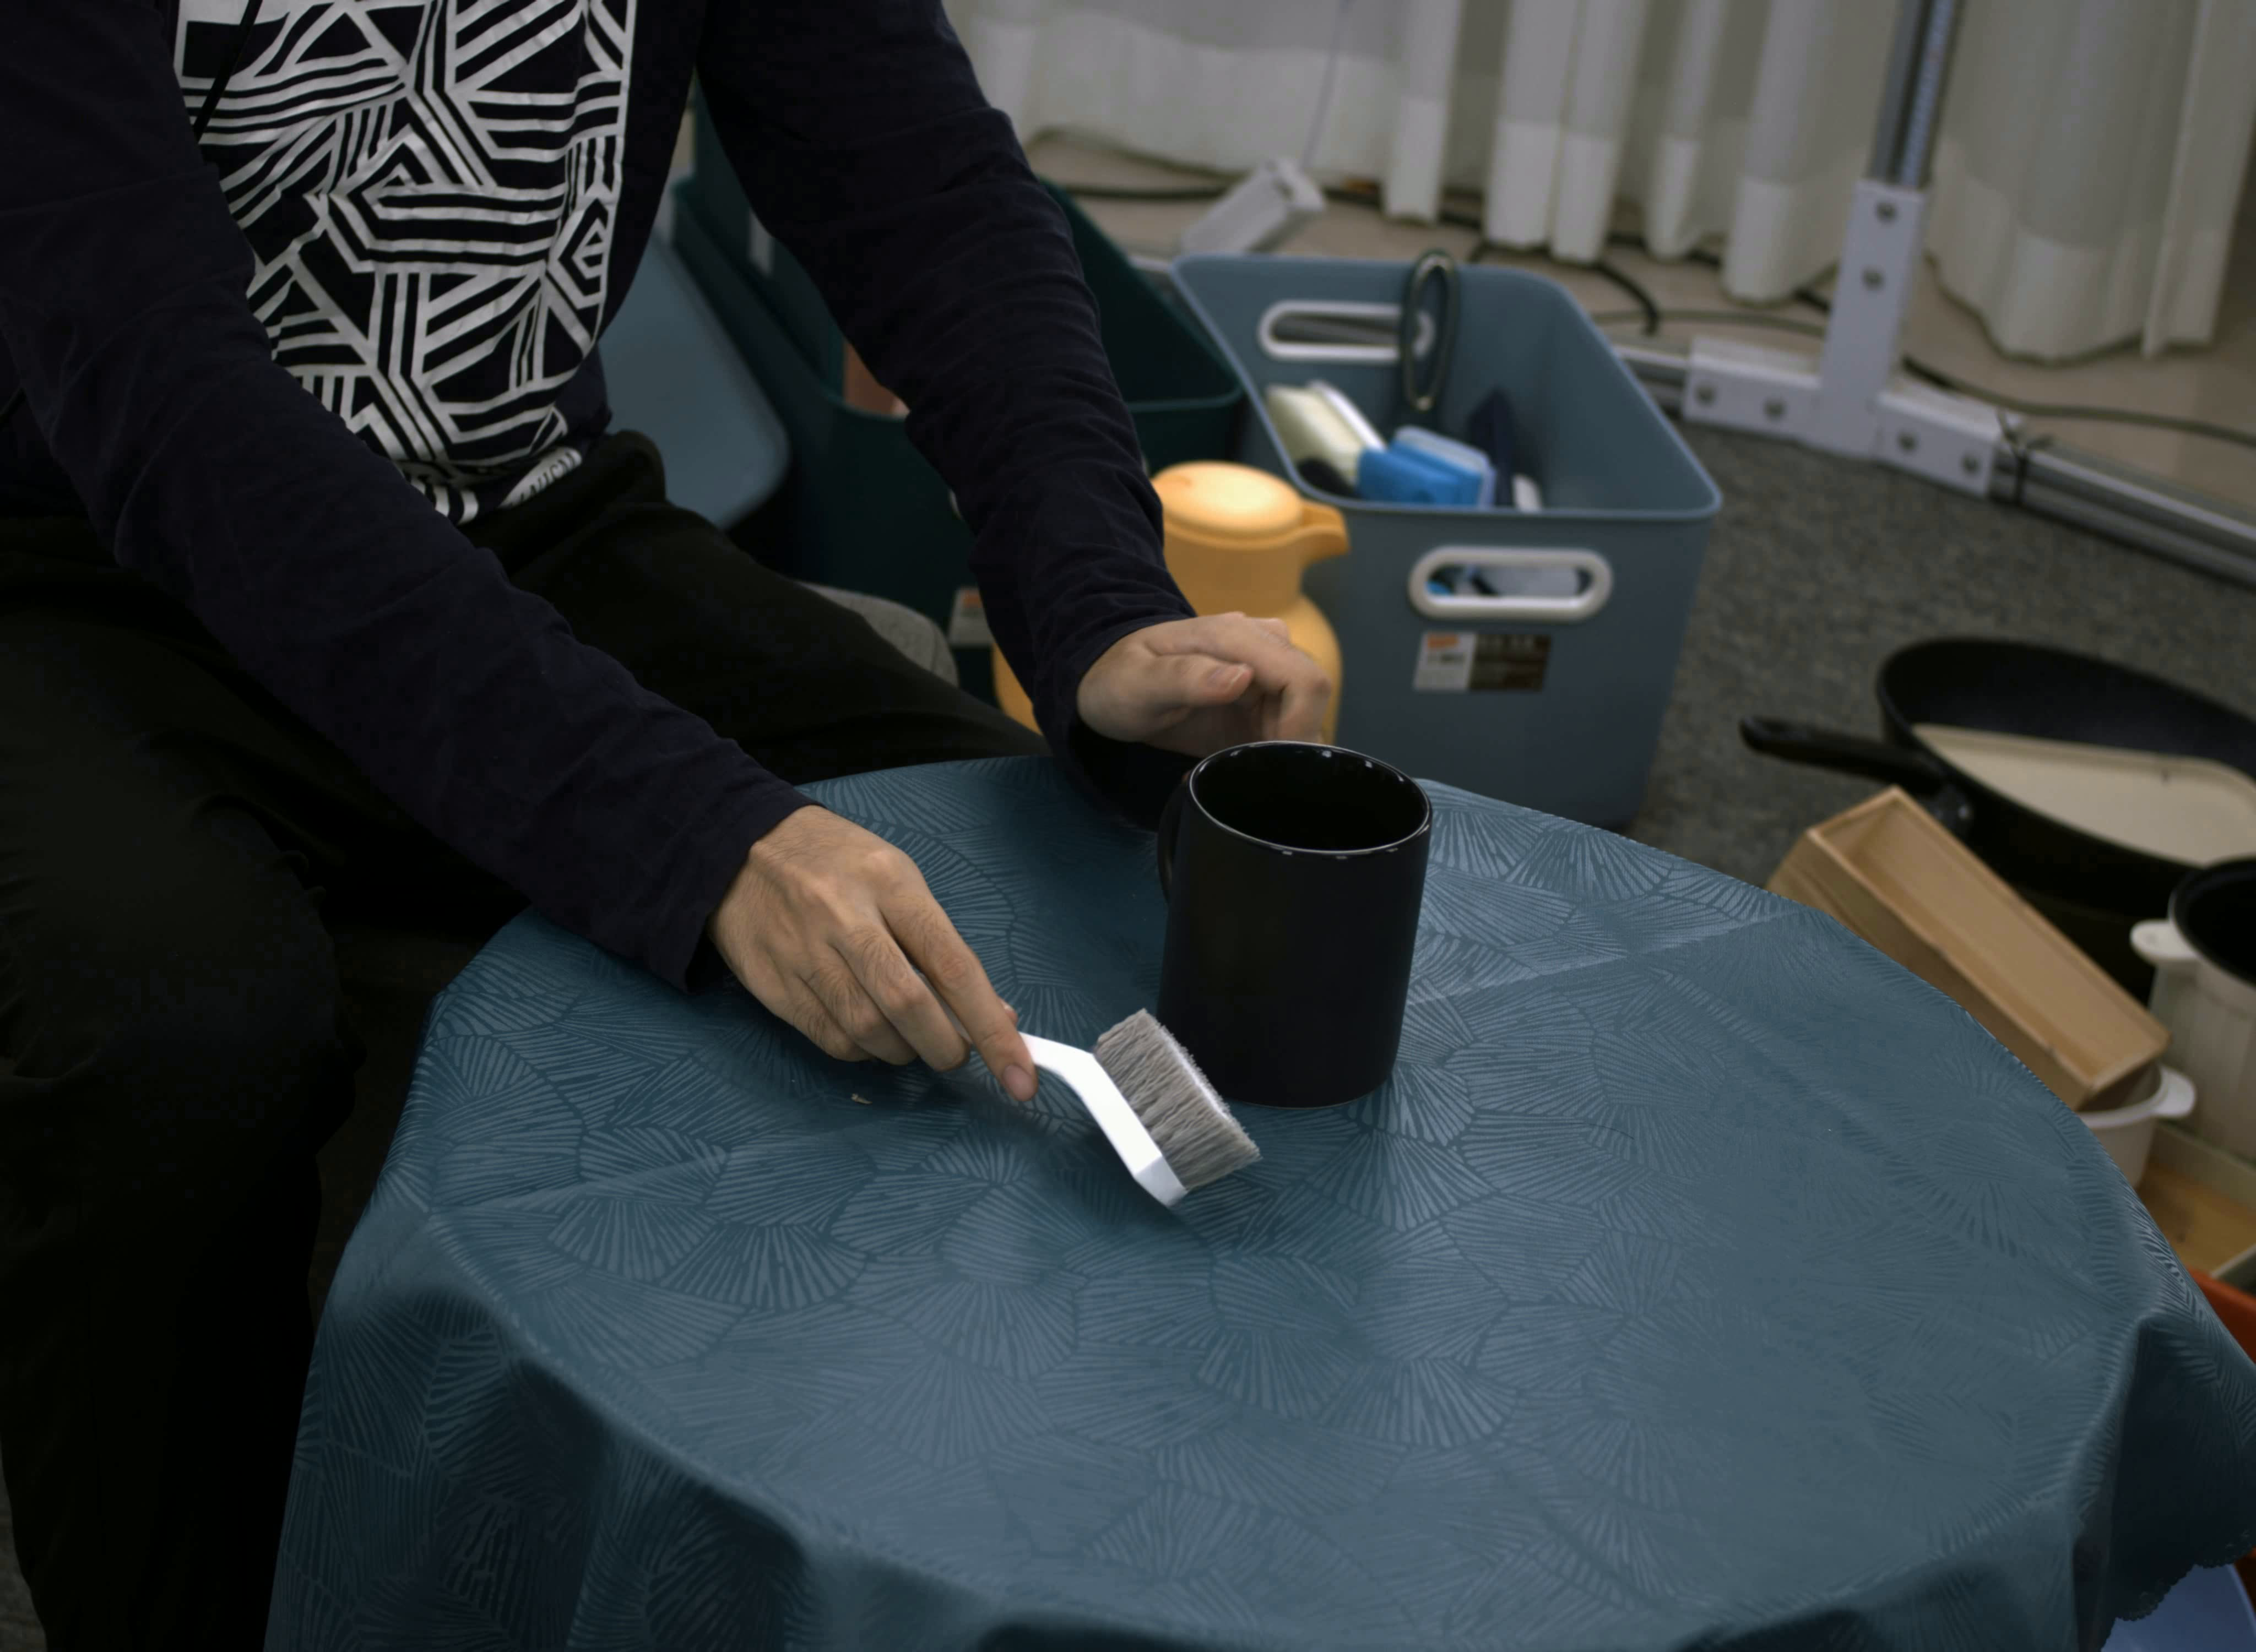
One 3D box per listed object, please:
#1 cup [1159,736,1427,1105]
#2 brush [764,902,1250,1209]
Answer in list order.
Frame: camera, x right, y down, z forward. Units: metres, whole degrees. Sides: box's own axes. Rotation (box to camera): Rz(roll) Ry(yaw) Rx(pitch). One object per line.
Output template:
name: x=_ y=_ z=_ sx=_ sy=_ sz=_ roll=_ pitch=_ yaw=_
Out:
cup: x=0.049 y=0.026 z=1.894 sx=0.088 sy=0.105 sz=0.125 roll=-11 pitch=30 yaw=-28
brush: x=-0.044 y=0.063 z=1.860 sx=0.246 sy=0.050 sz=0.034 roll=32 pitch=0 yaw=44
